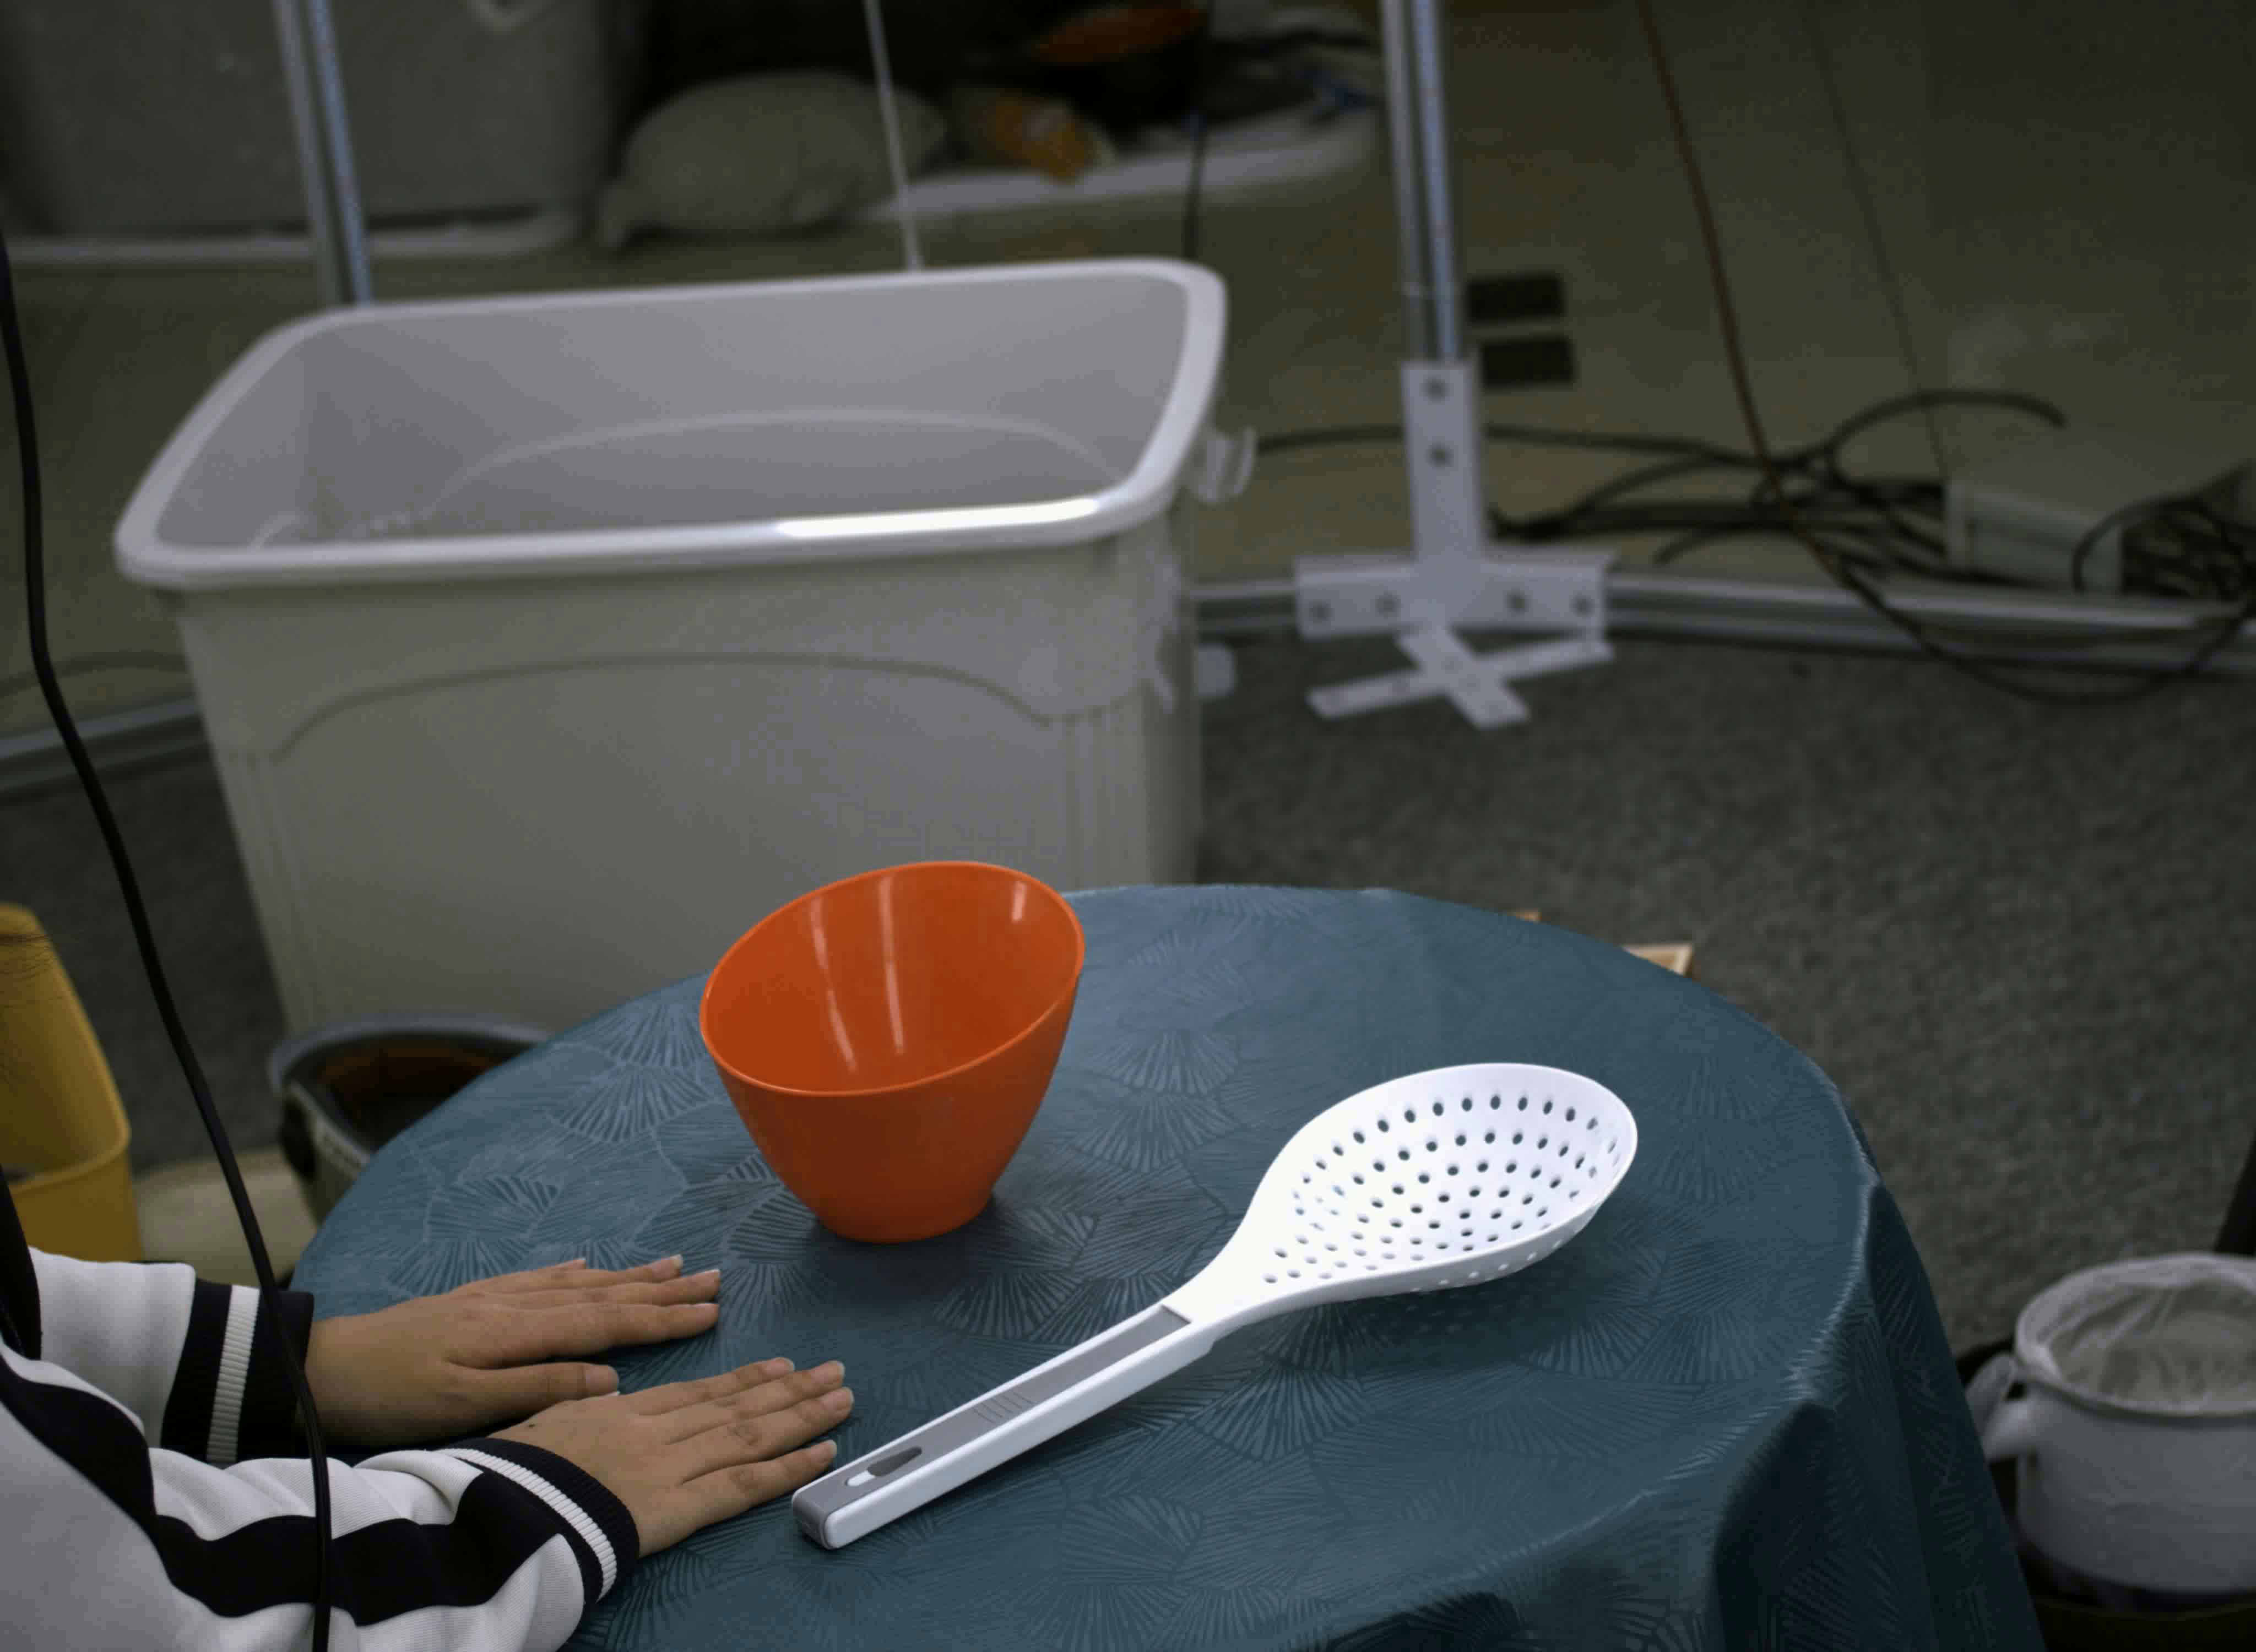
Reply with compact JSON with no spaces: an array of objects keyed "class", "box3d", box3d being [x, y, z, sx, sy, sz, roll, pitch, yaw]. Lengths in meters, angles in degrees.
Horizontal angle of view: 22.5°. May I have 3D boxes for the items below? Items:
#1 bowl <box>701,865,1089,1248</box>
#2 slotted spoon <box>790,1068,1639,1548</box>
[{"class":"bowl","box3d":[-0.085,0.094,2.145,0.148,0.106,0.146,-4,27,2]},{"class":"slotted spoon","box3d":[0.032,0.171,2.017,0.347,0.046,0.135,-21,27,-28]}]
